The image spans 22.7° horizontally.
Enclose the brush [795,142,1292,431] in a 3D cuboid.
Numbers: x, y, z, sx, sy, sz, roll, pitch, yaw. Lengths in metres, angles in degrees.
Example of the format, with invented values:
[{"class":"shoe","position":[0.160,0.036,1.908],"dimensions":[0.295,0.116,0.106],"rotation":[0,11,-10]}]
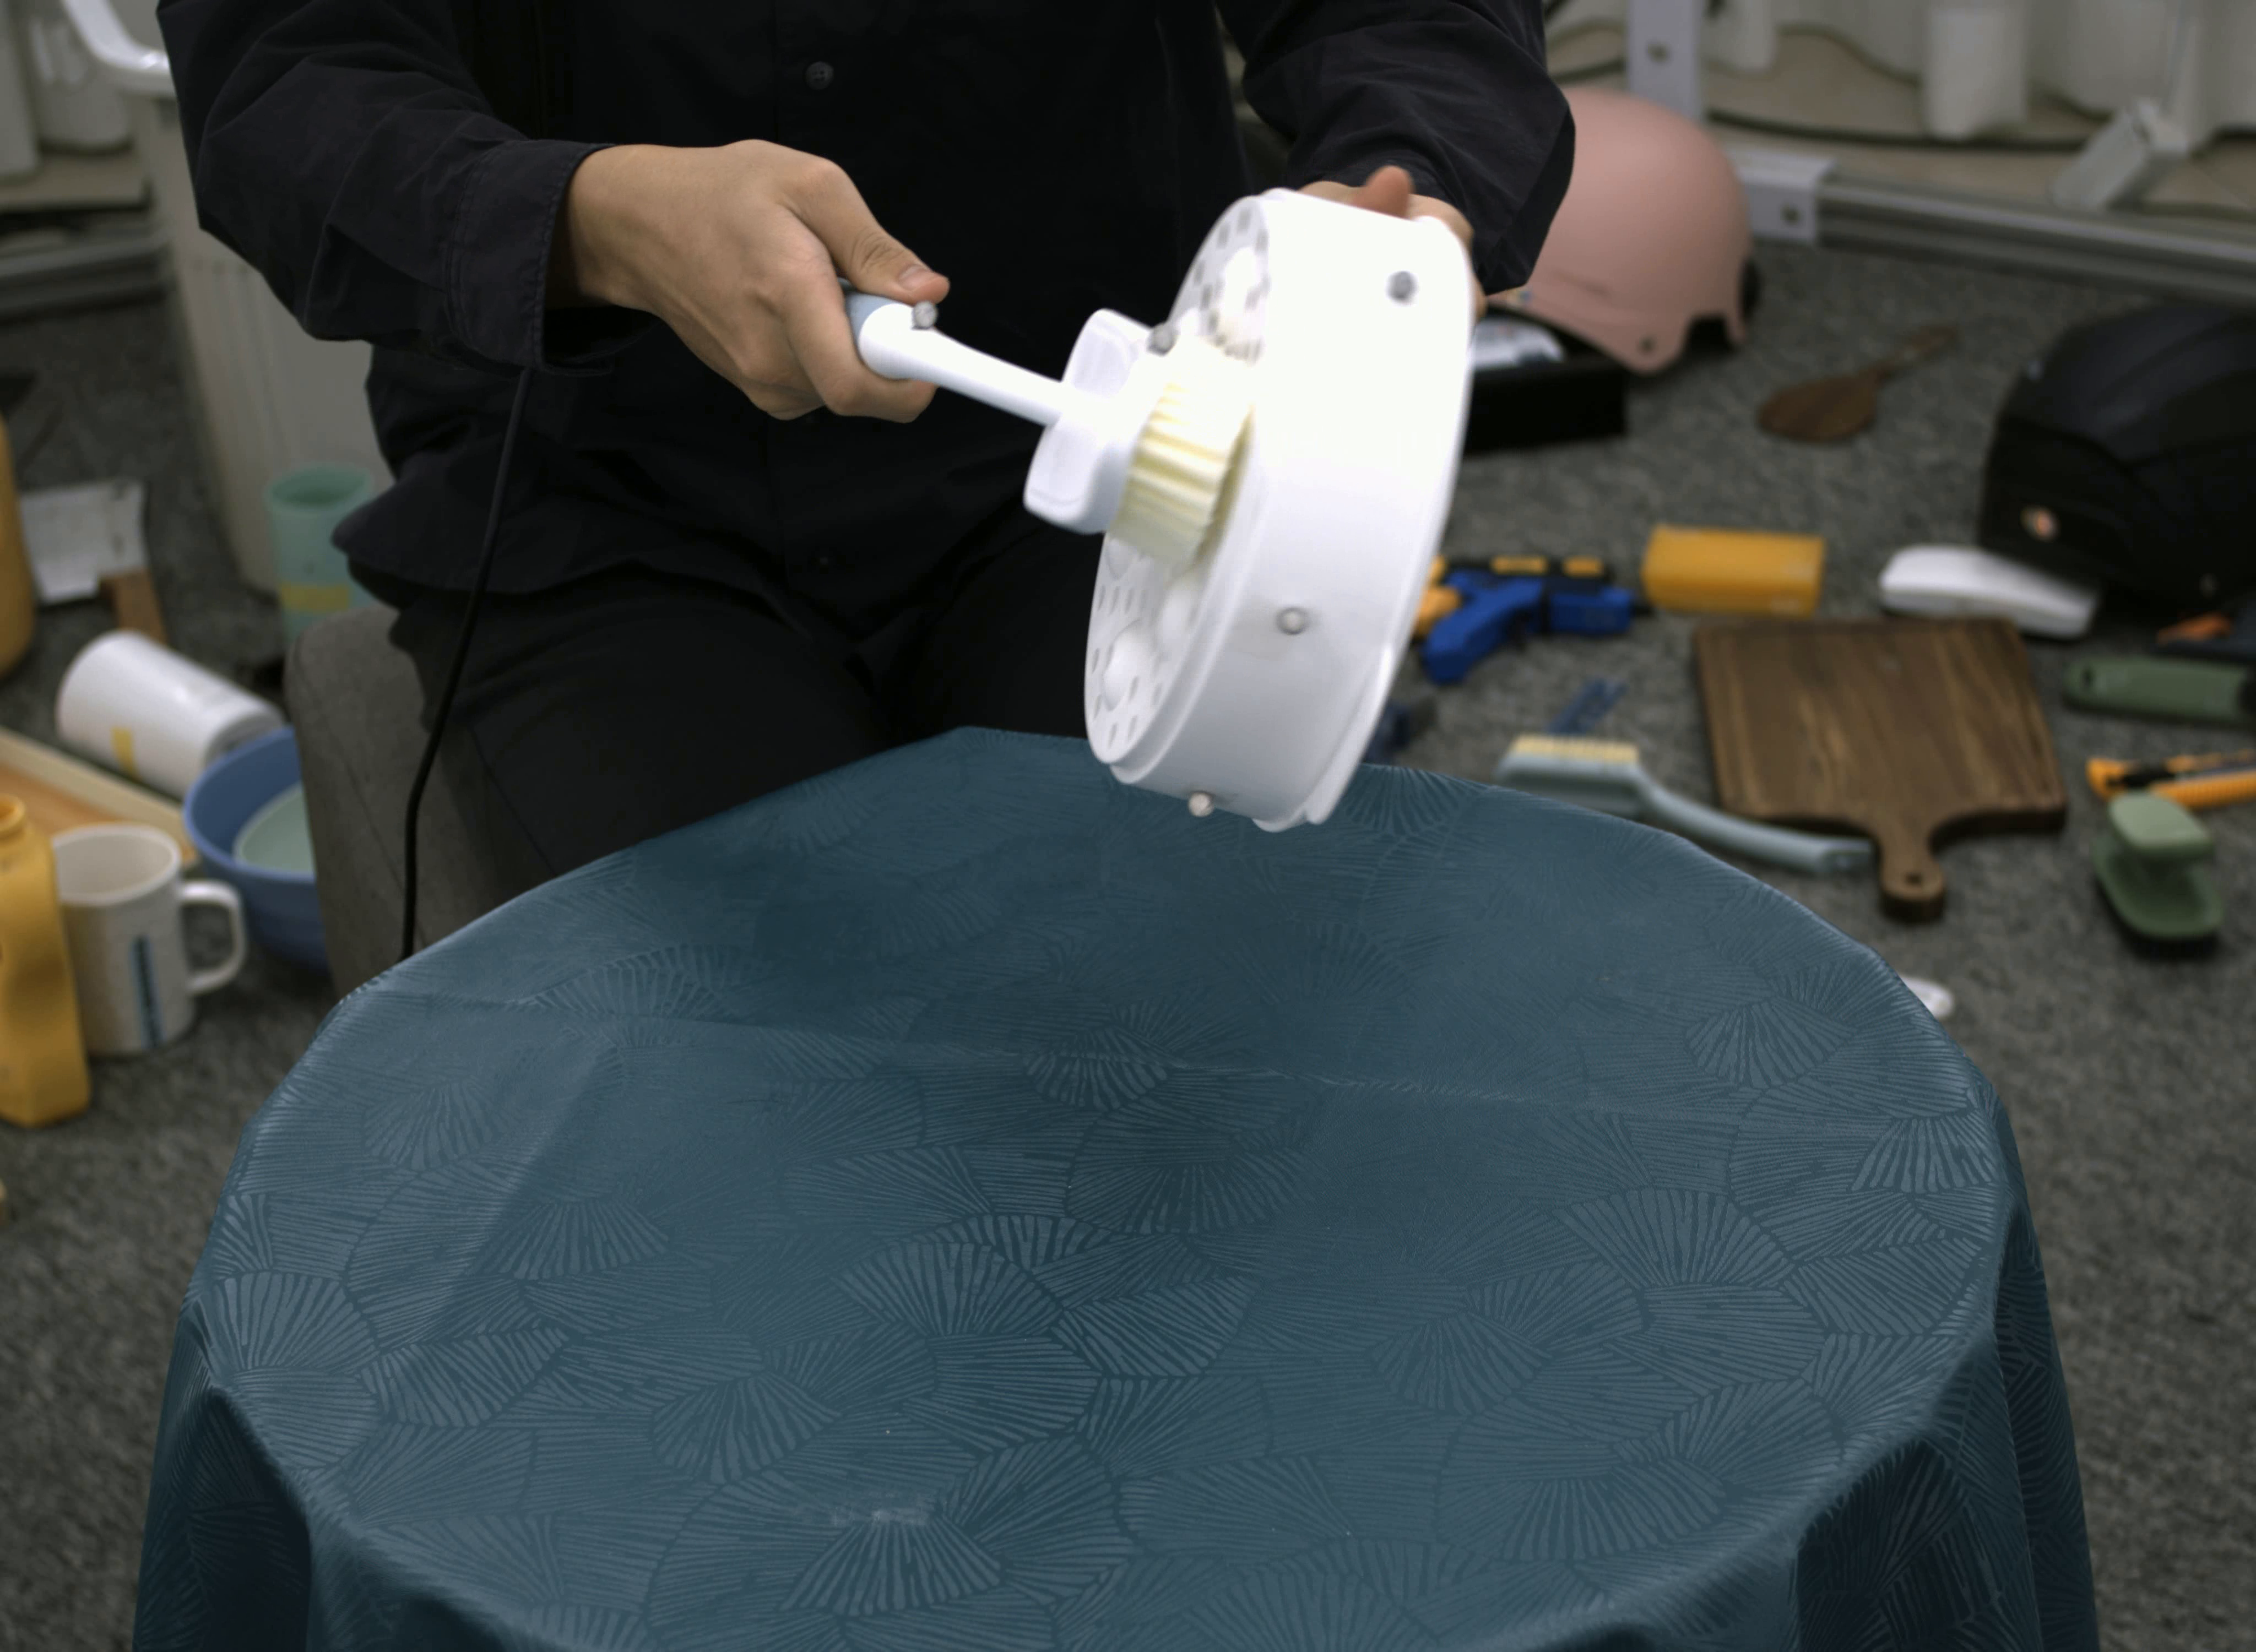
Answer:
[{"class":"brush","position":[-0.014,-0.186,1.838],"dimensions":[0.083,0.084,0.326],"rotation":[-39,24,-9]}]

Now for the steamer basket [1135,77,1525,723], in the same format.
[{"class":"steamer basket","position":[0.059,-0.137,1.791],"dimensions":[0.069,0.198,0.235],"rotation":[14,42,-13]}]
